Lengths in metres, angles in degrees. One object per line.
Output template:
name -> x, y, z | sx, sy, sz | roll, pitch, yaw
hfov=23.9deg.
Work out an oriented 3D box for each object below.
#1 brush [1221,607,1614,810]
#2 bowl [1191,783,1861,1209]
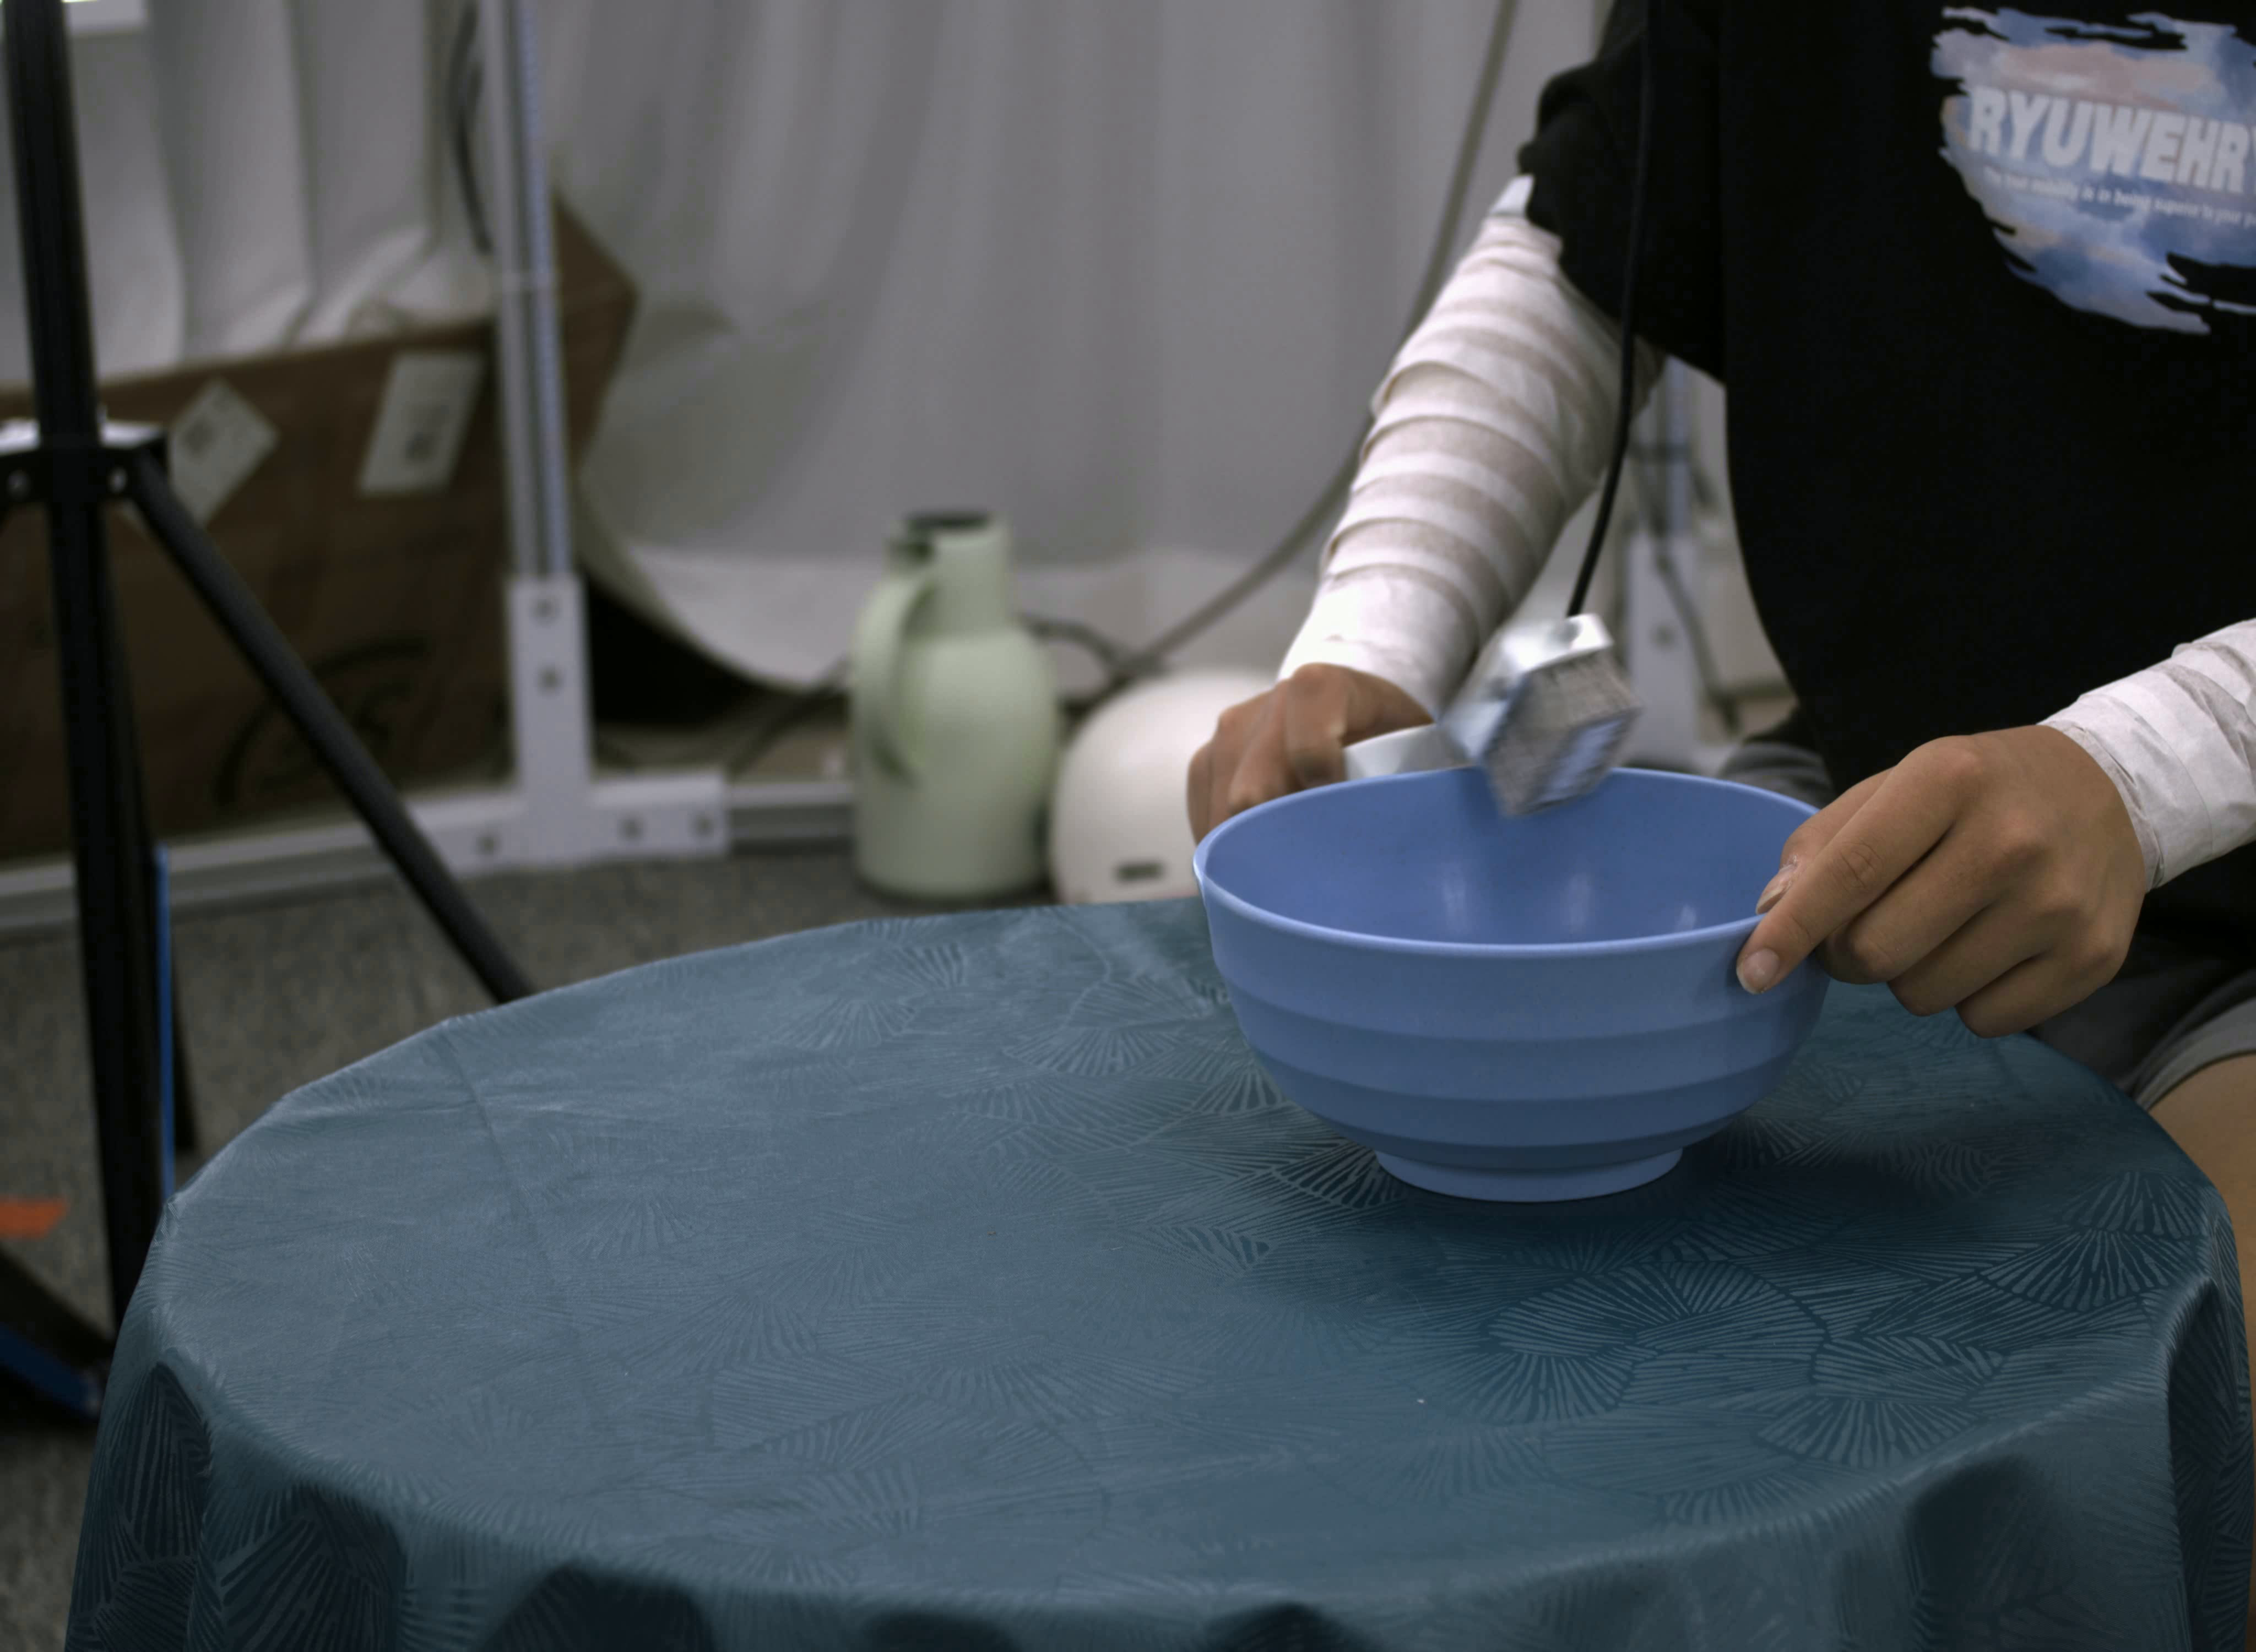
brush -> 0.089, -0.017, 1.692 | 0.034, 0.050, 0.246 | -17, -6, -24
bowl -> 0.118, 0.055, 1.565 | 0.195, 0.095, 0.197 | -3, 13, -1
